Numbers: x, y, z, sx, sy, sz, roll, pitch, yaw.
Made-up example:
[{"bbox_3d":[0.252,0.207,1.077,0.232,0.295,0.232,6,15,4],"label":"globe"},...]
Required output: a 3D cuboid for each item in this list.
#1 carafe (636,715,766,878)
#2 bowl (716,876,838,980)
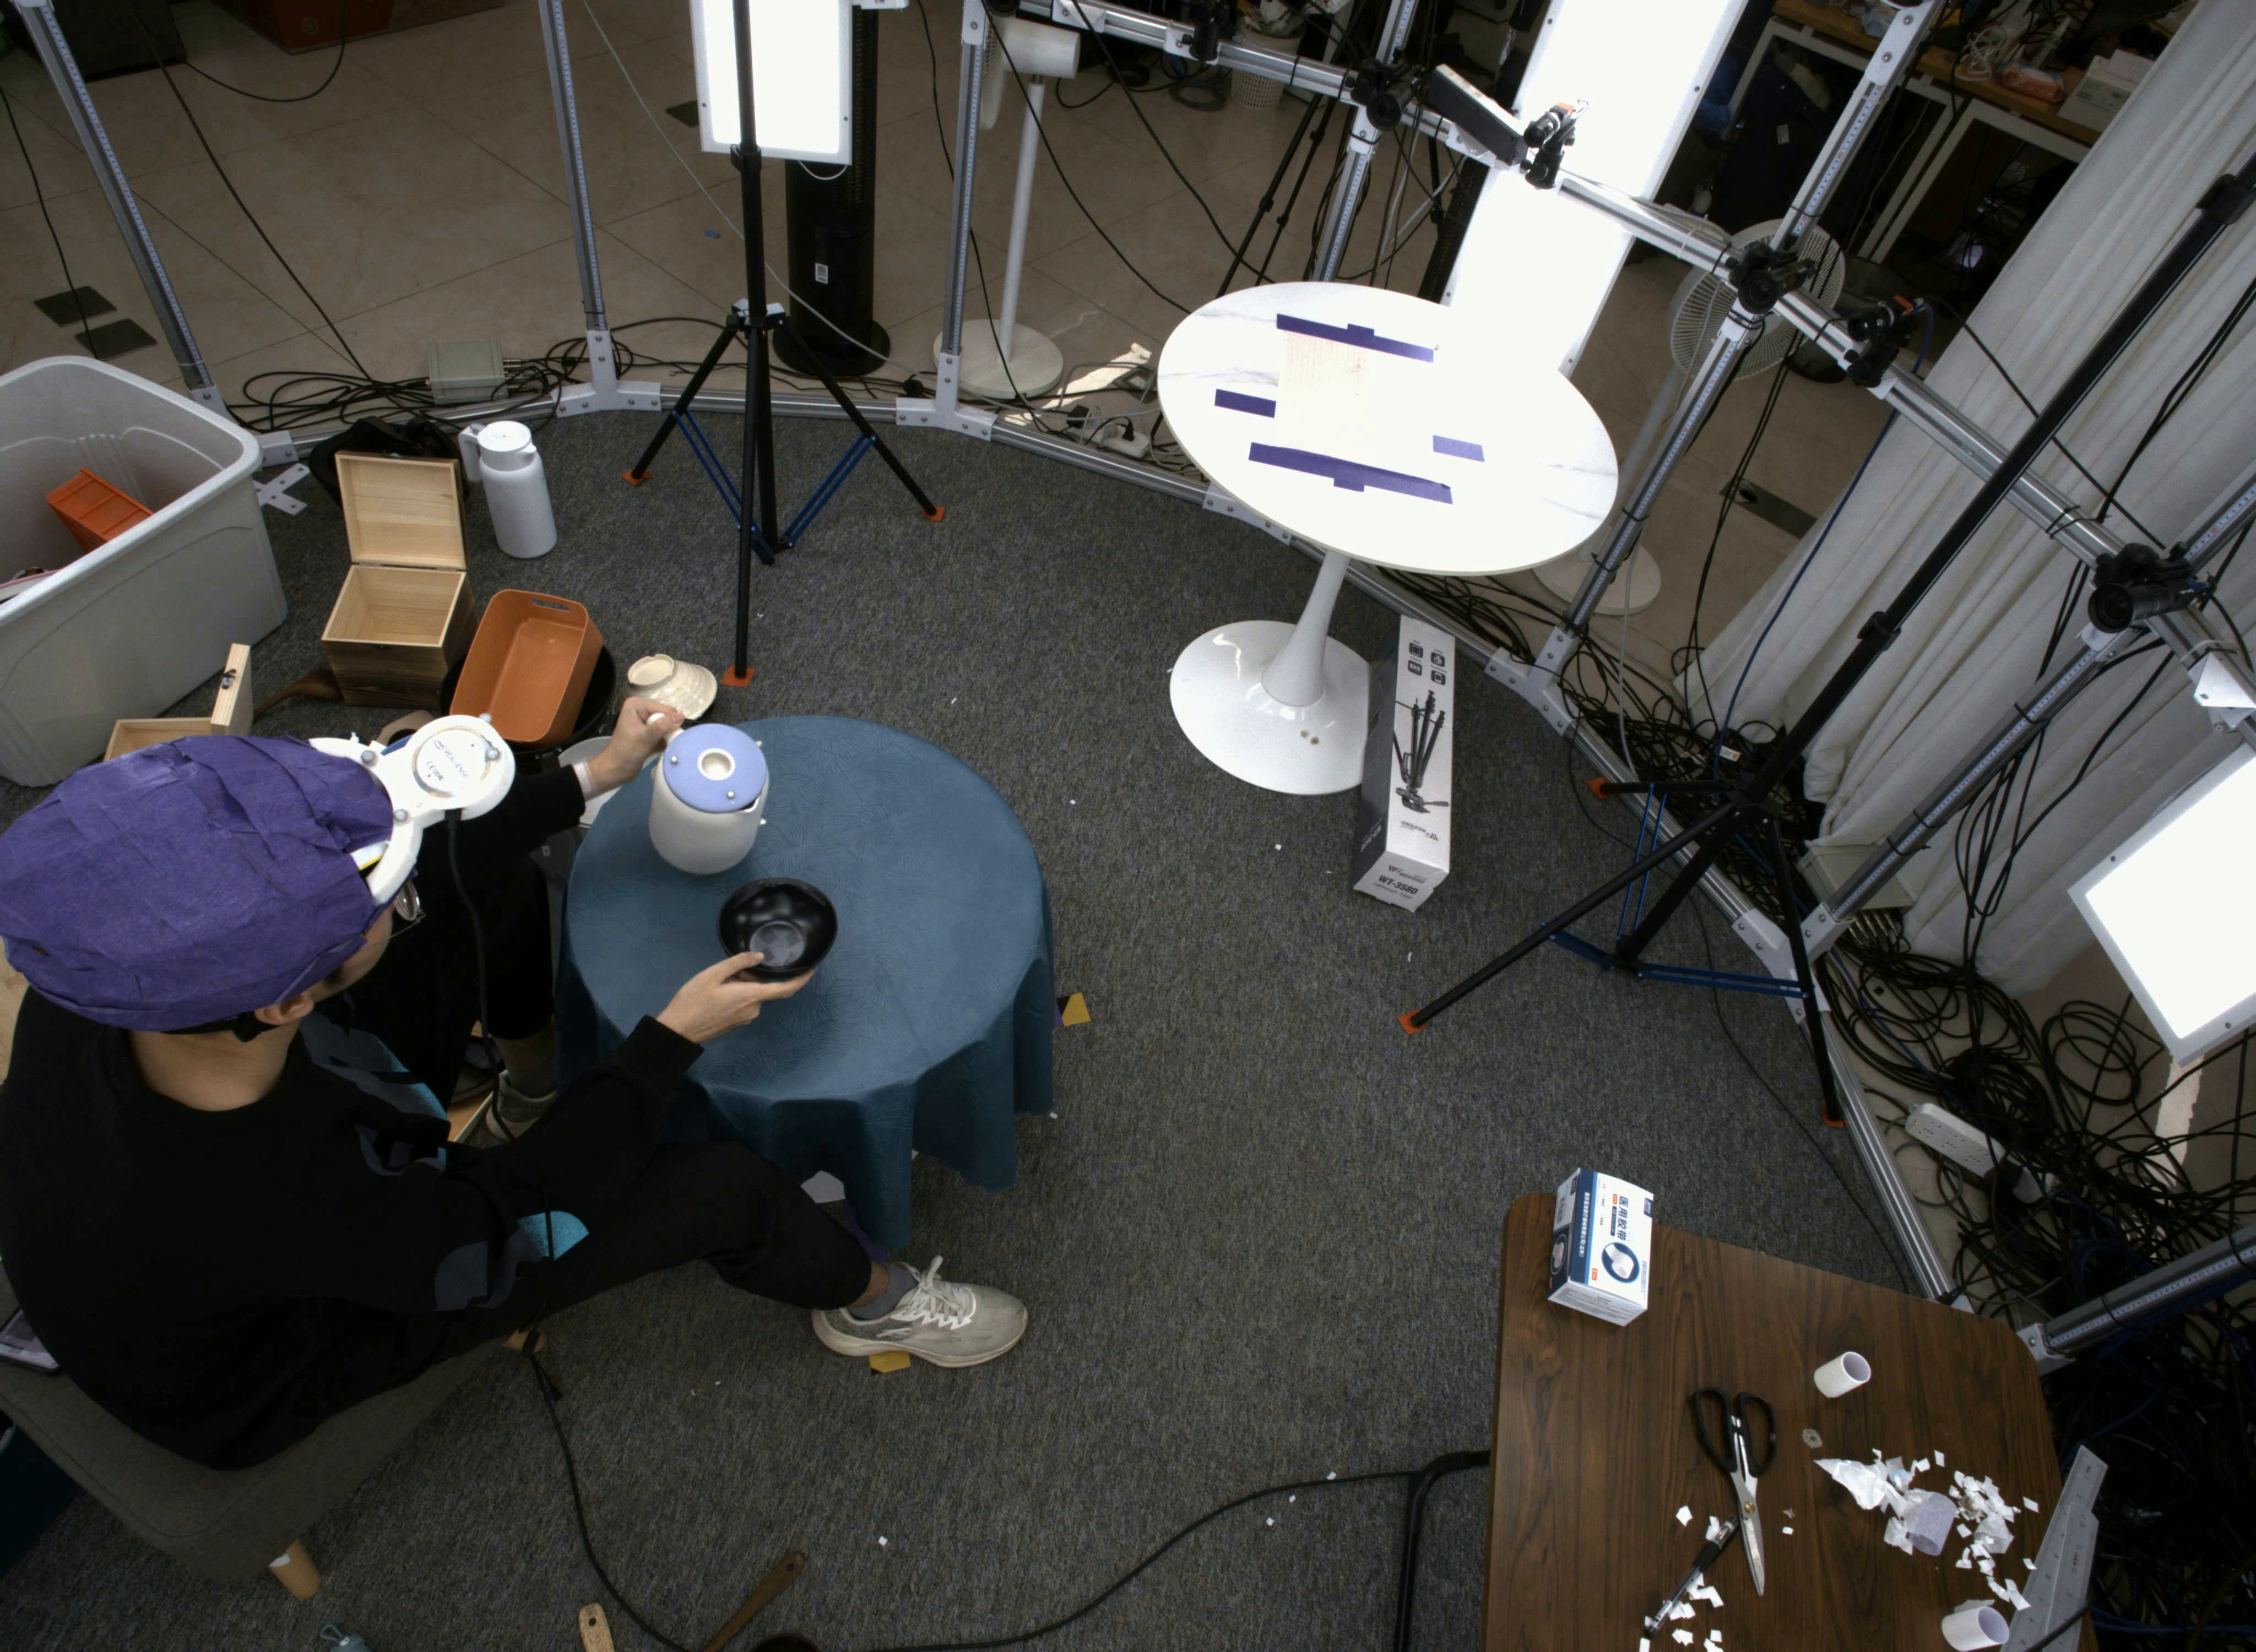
[{"bbox_3d":[-0.530,-0.049,1.569,0.190,0.184,0.132,42,54,5],"label":"carafe"},{"bbox_3d":[-0.413,0.126,1.527,0.140,0.051,0.137,9,50,-9],"label":"bowl"}]
